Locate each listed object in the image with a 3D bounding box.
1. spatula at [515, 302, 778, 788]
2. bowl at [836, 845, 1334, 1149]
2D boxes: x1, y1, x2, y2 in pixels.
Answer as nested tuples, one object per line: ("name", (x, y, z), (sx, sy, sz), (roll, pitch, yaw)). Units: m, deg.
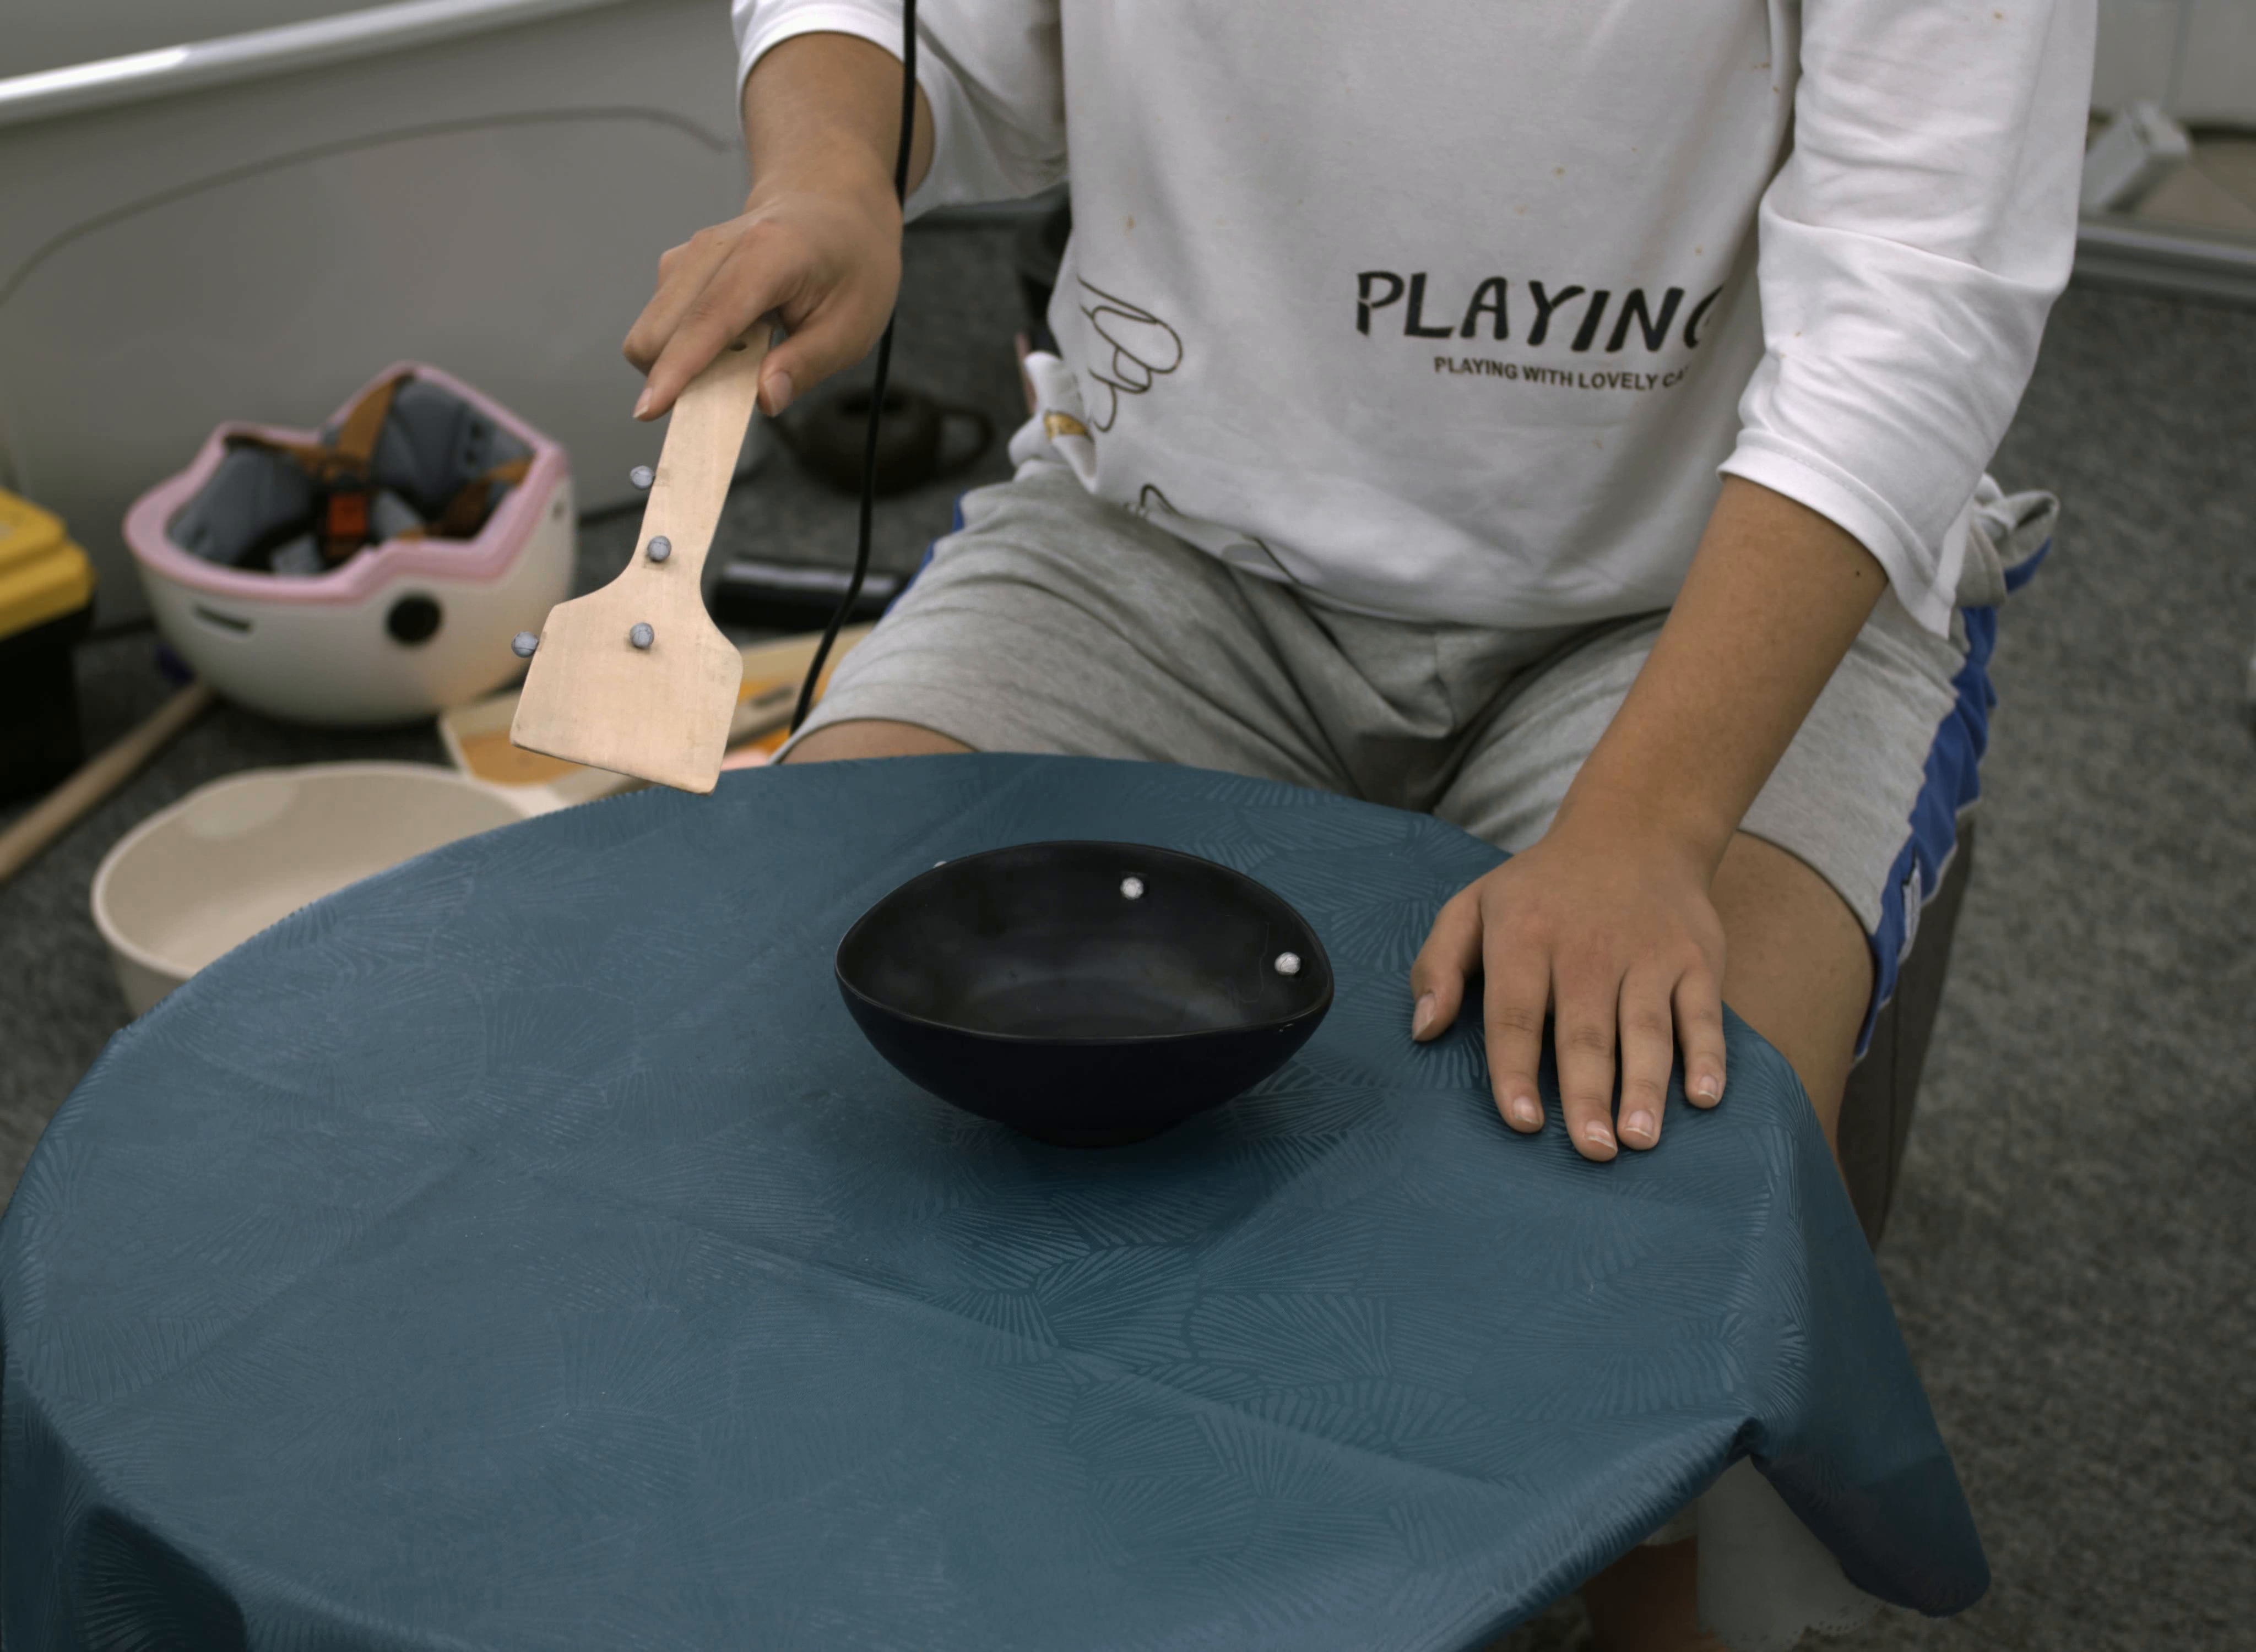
("spatula", (-0.156, -0.104, 1.955), (0.072, 0.010, 0.298), (14, 36, -4))
("bowl", (-0.014, 0.065, 1.907), (0.169, 0.066, 0.139), (3, 27, 6))
